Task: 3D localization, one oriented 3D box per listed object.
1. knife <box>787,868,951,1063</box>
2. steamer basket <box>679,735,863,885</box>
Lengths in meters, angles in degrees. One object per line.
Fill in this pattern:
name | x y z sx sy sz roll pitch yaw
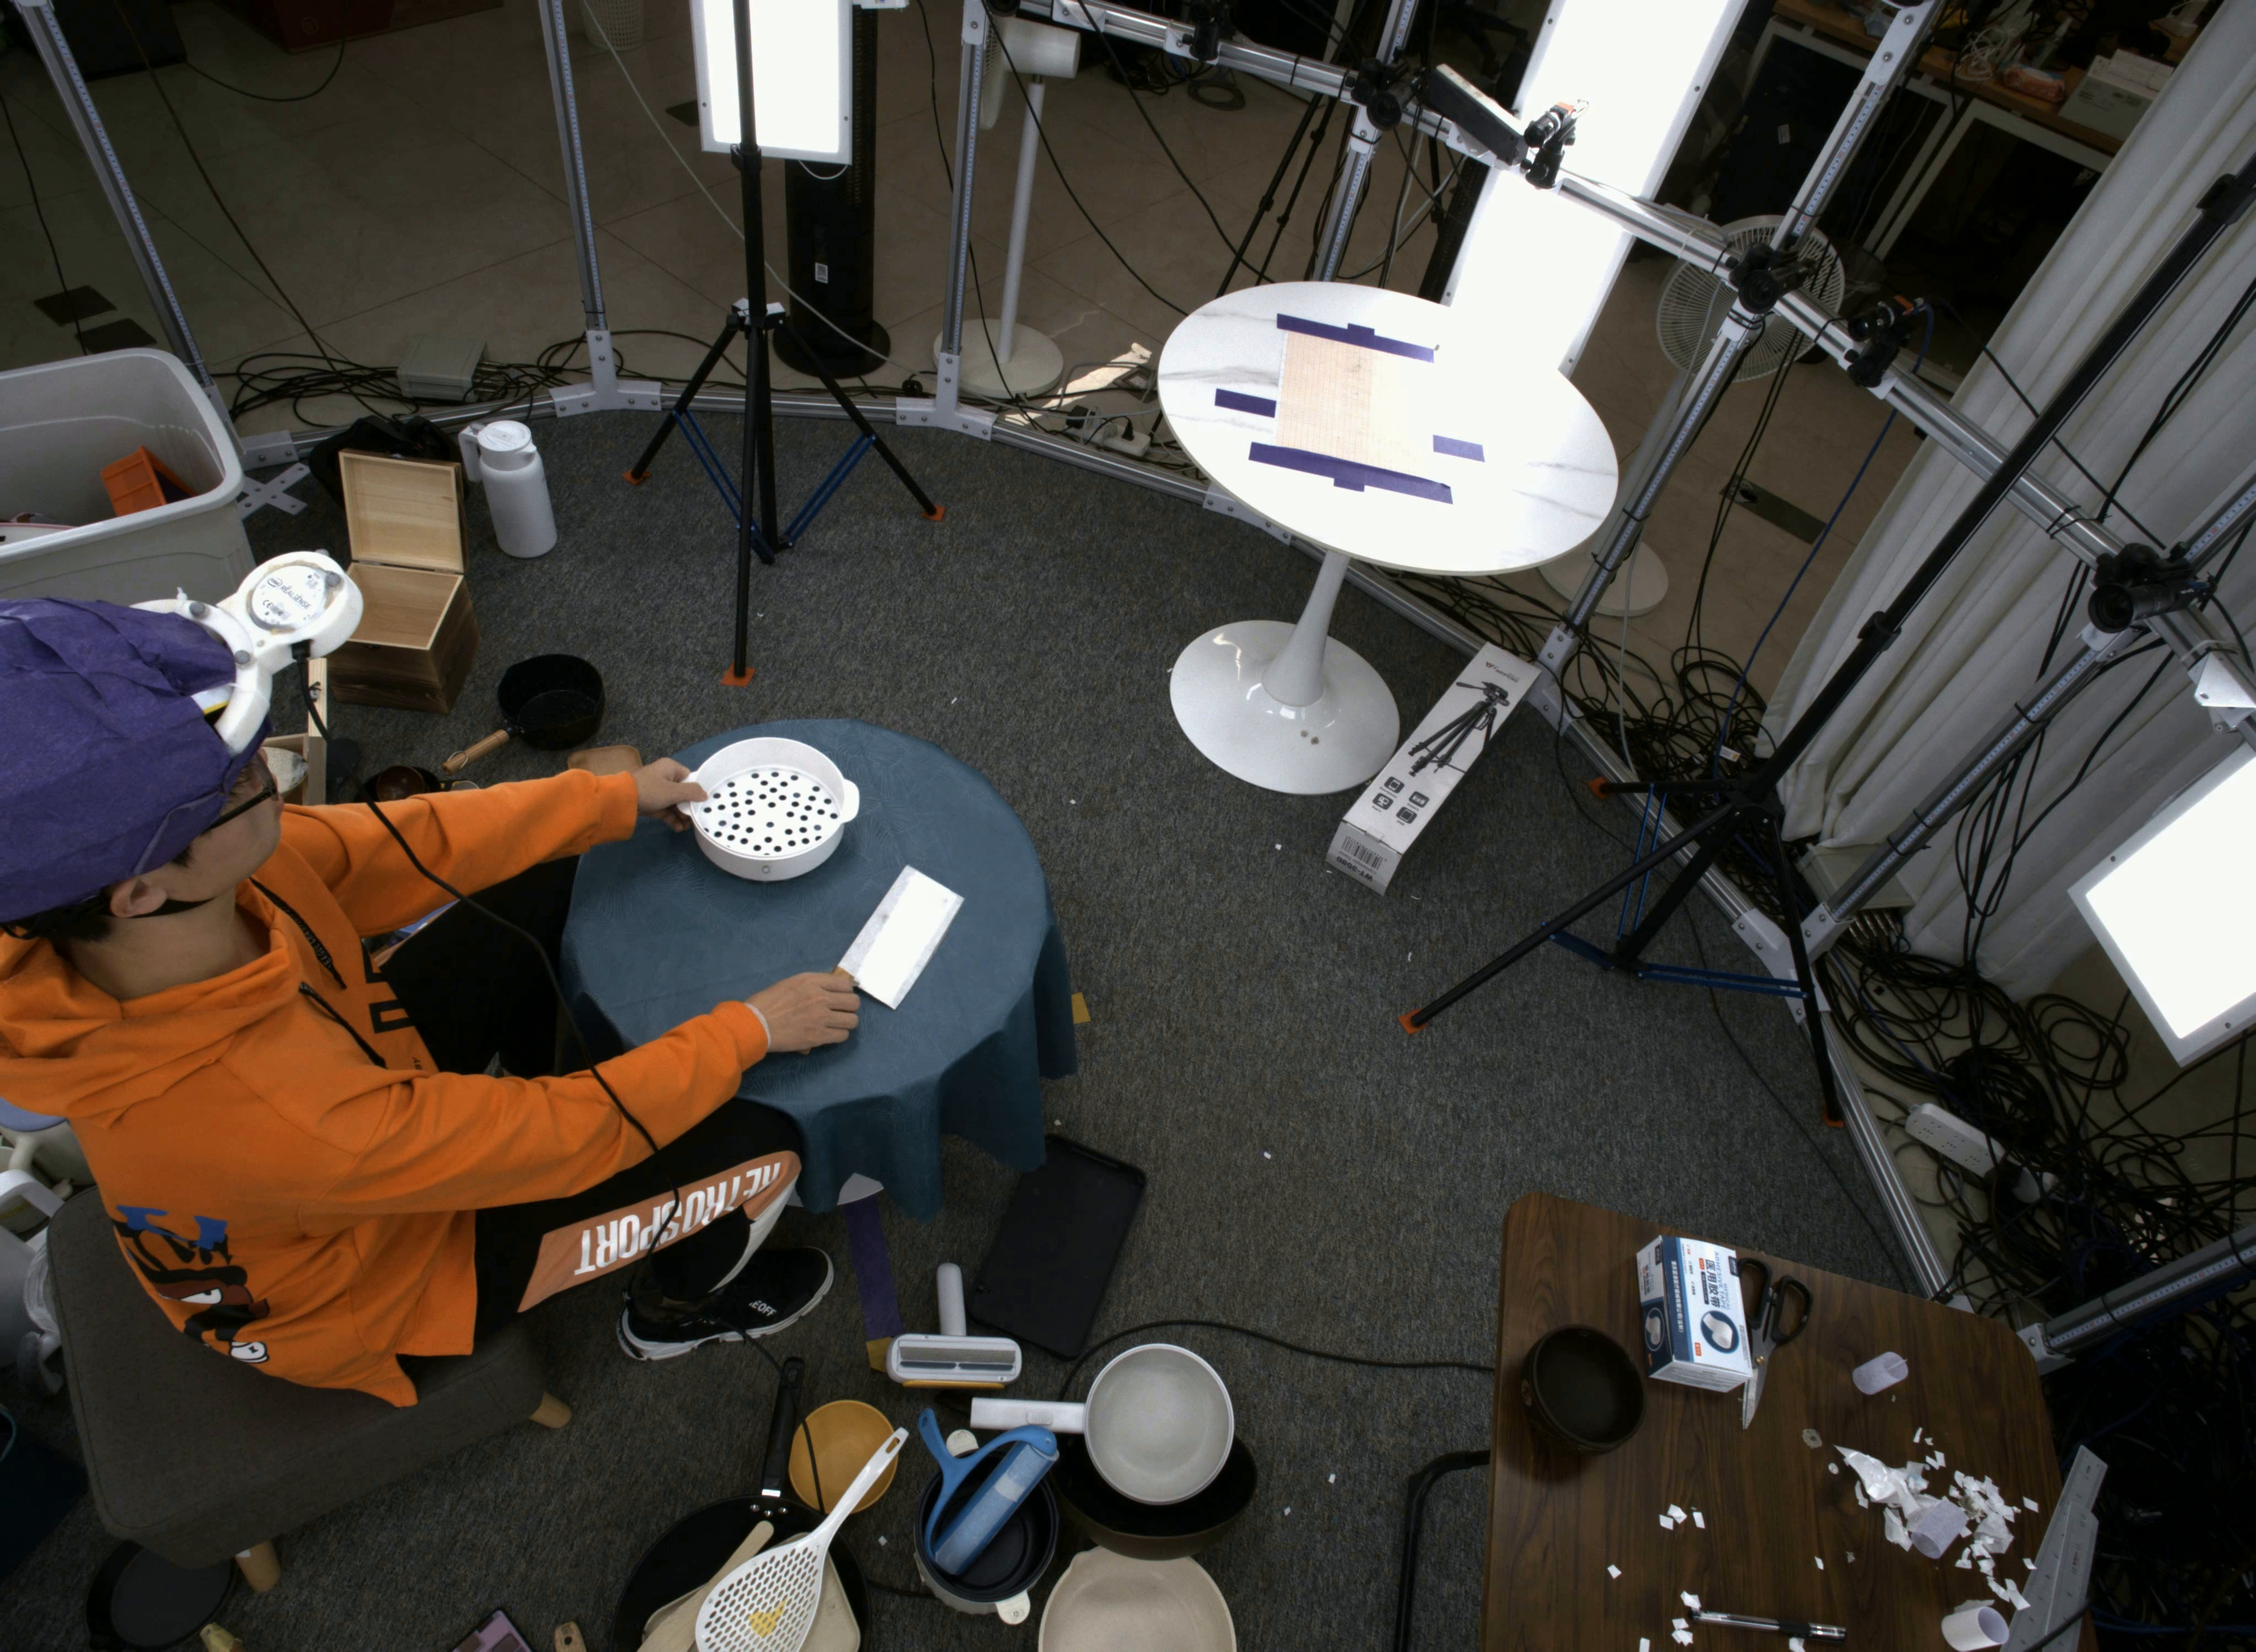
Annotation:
knife | -0.309 0.174 1.601 0.093 0.021 0.303 31 51 -3
steamer basket | -0.461 -0.022 1.675 0.231 0.070 0.198 3 54 -15
